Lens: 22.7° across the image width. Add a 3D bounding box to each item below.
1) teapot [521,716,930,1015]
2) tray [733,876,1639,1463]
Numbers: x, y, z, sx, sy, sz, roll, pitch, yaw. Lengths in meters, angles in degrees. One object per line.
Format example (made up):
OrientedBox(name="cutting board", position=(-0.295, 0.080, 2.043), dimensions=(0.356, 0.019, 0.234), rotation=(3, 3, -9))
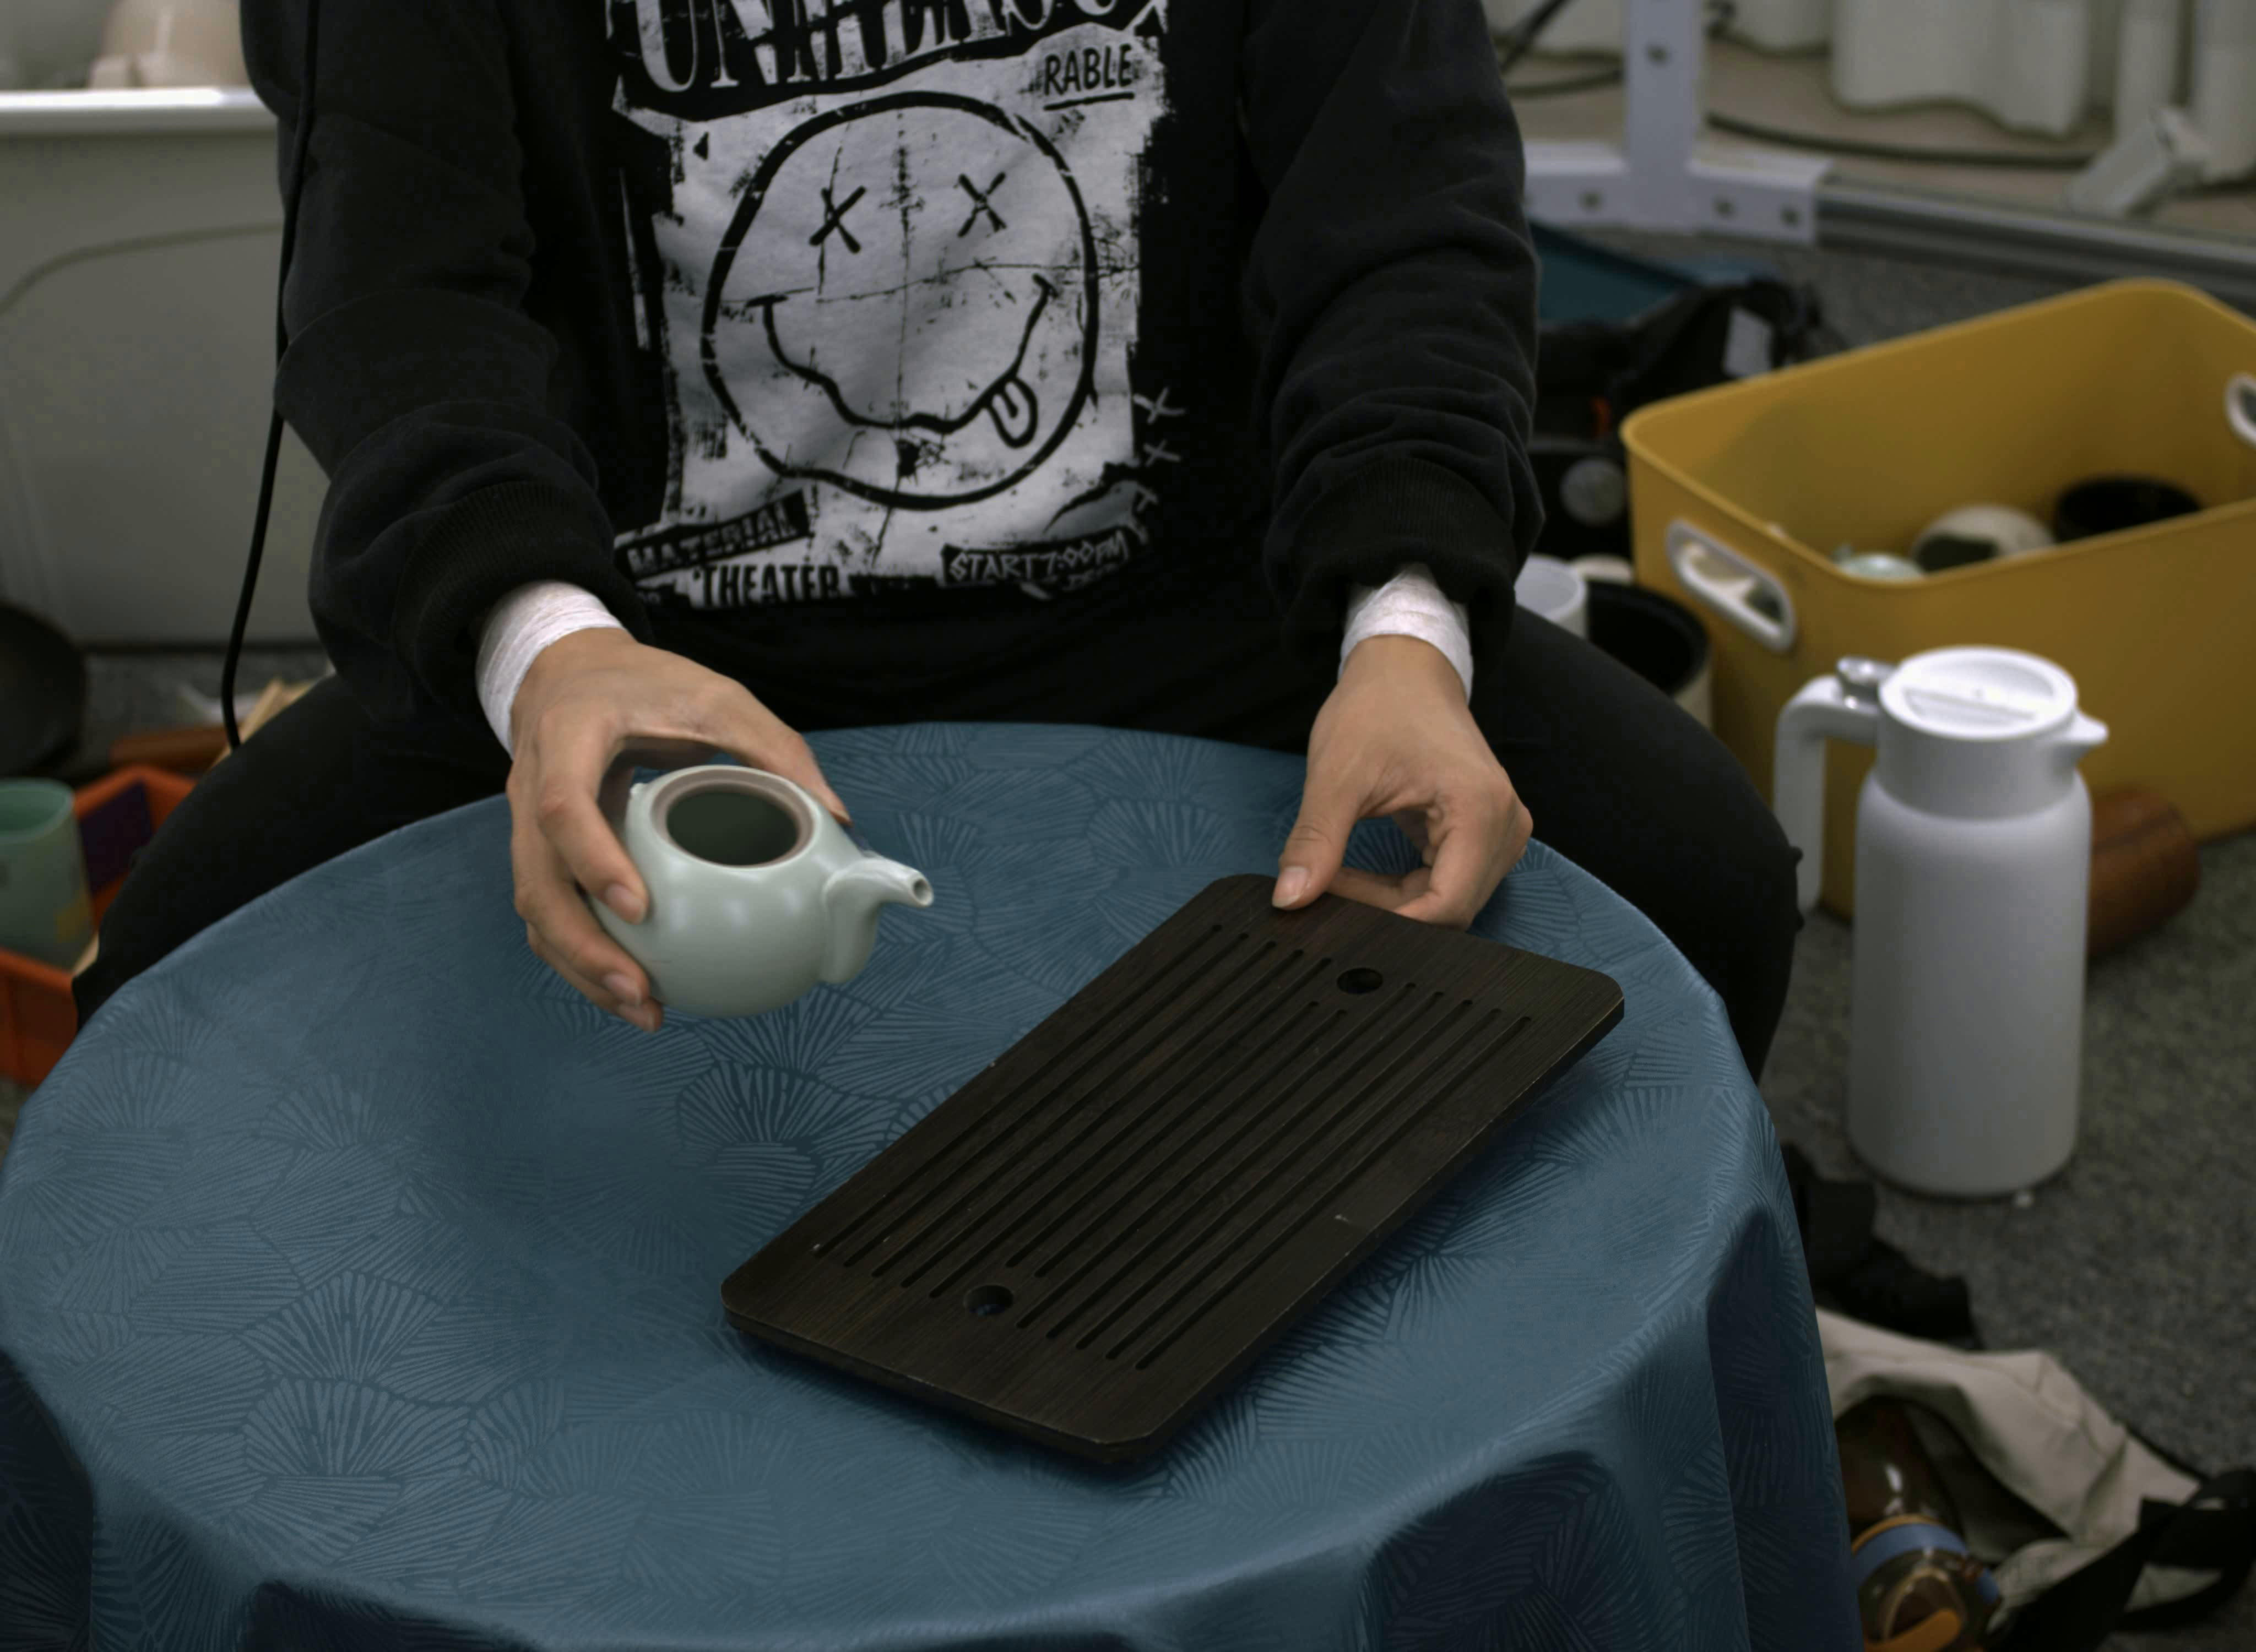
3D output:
OrientedBox(name="teapot", position=(-0.134, 0.019, 1.824), dimensions=(0.143, 0.073, 0.090), rotation=(24, 36, 14))
OrientedBox(name="tray", position=(0.024, 0.109, 1.847), dimensions=(0.169, 0.018, 0.311), rotation=(15, 35, 32))
